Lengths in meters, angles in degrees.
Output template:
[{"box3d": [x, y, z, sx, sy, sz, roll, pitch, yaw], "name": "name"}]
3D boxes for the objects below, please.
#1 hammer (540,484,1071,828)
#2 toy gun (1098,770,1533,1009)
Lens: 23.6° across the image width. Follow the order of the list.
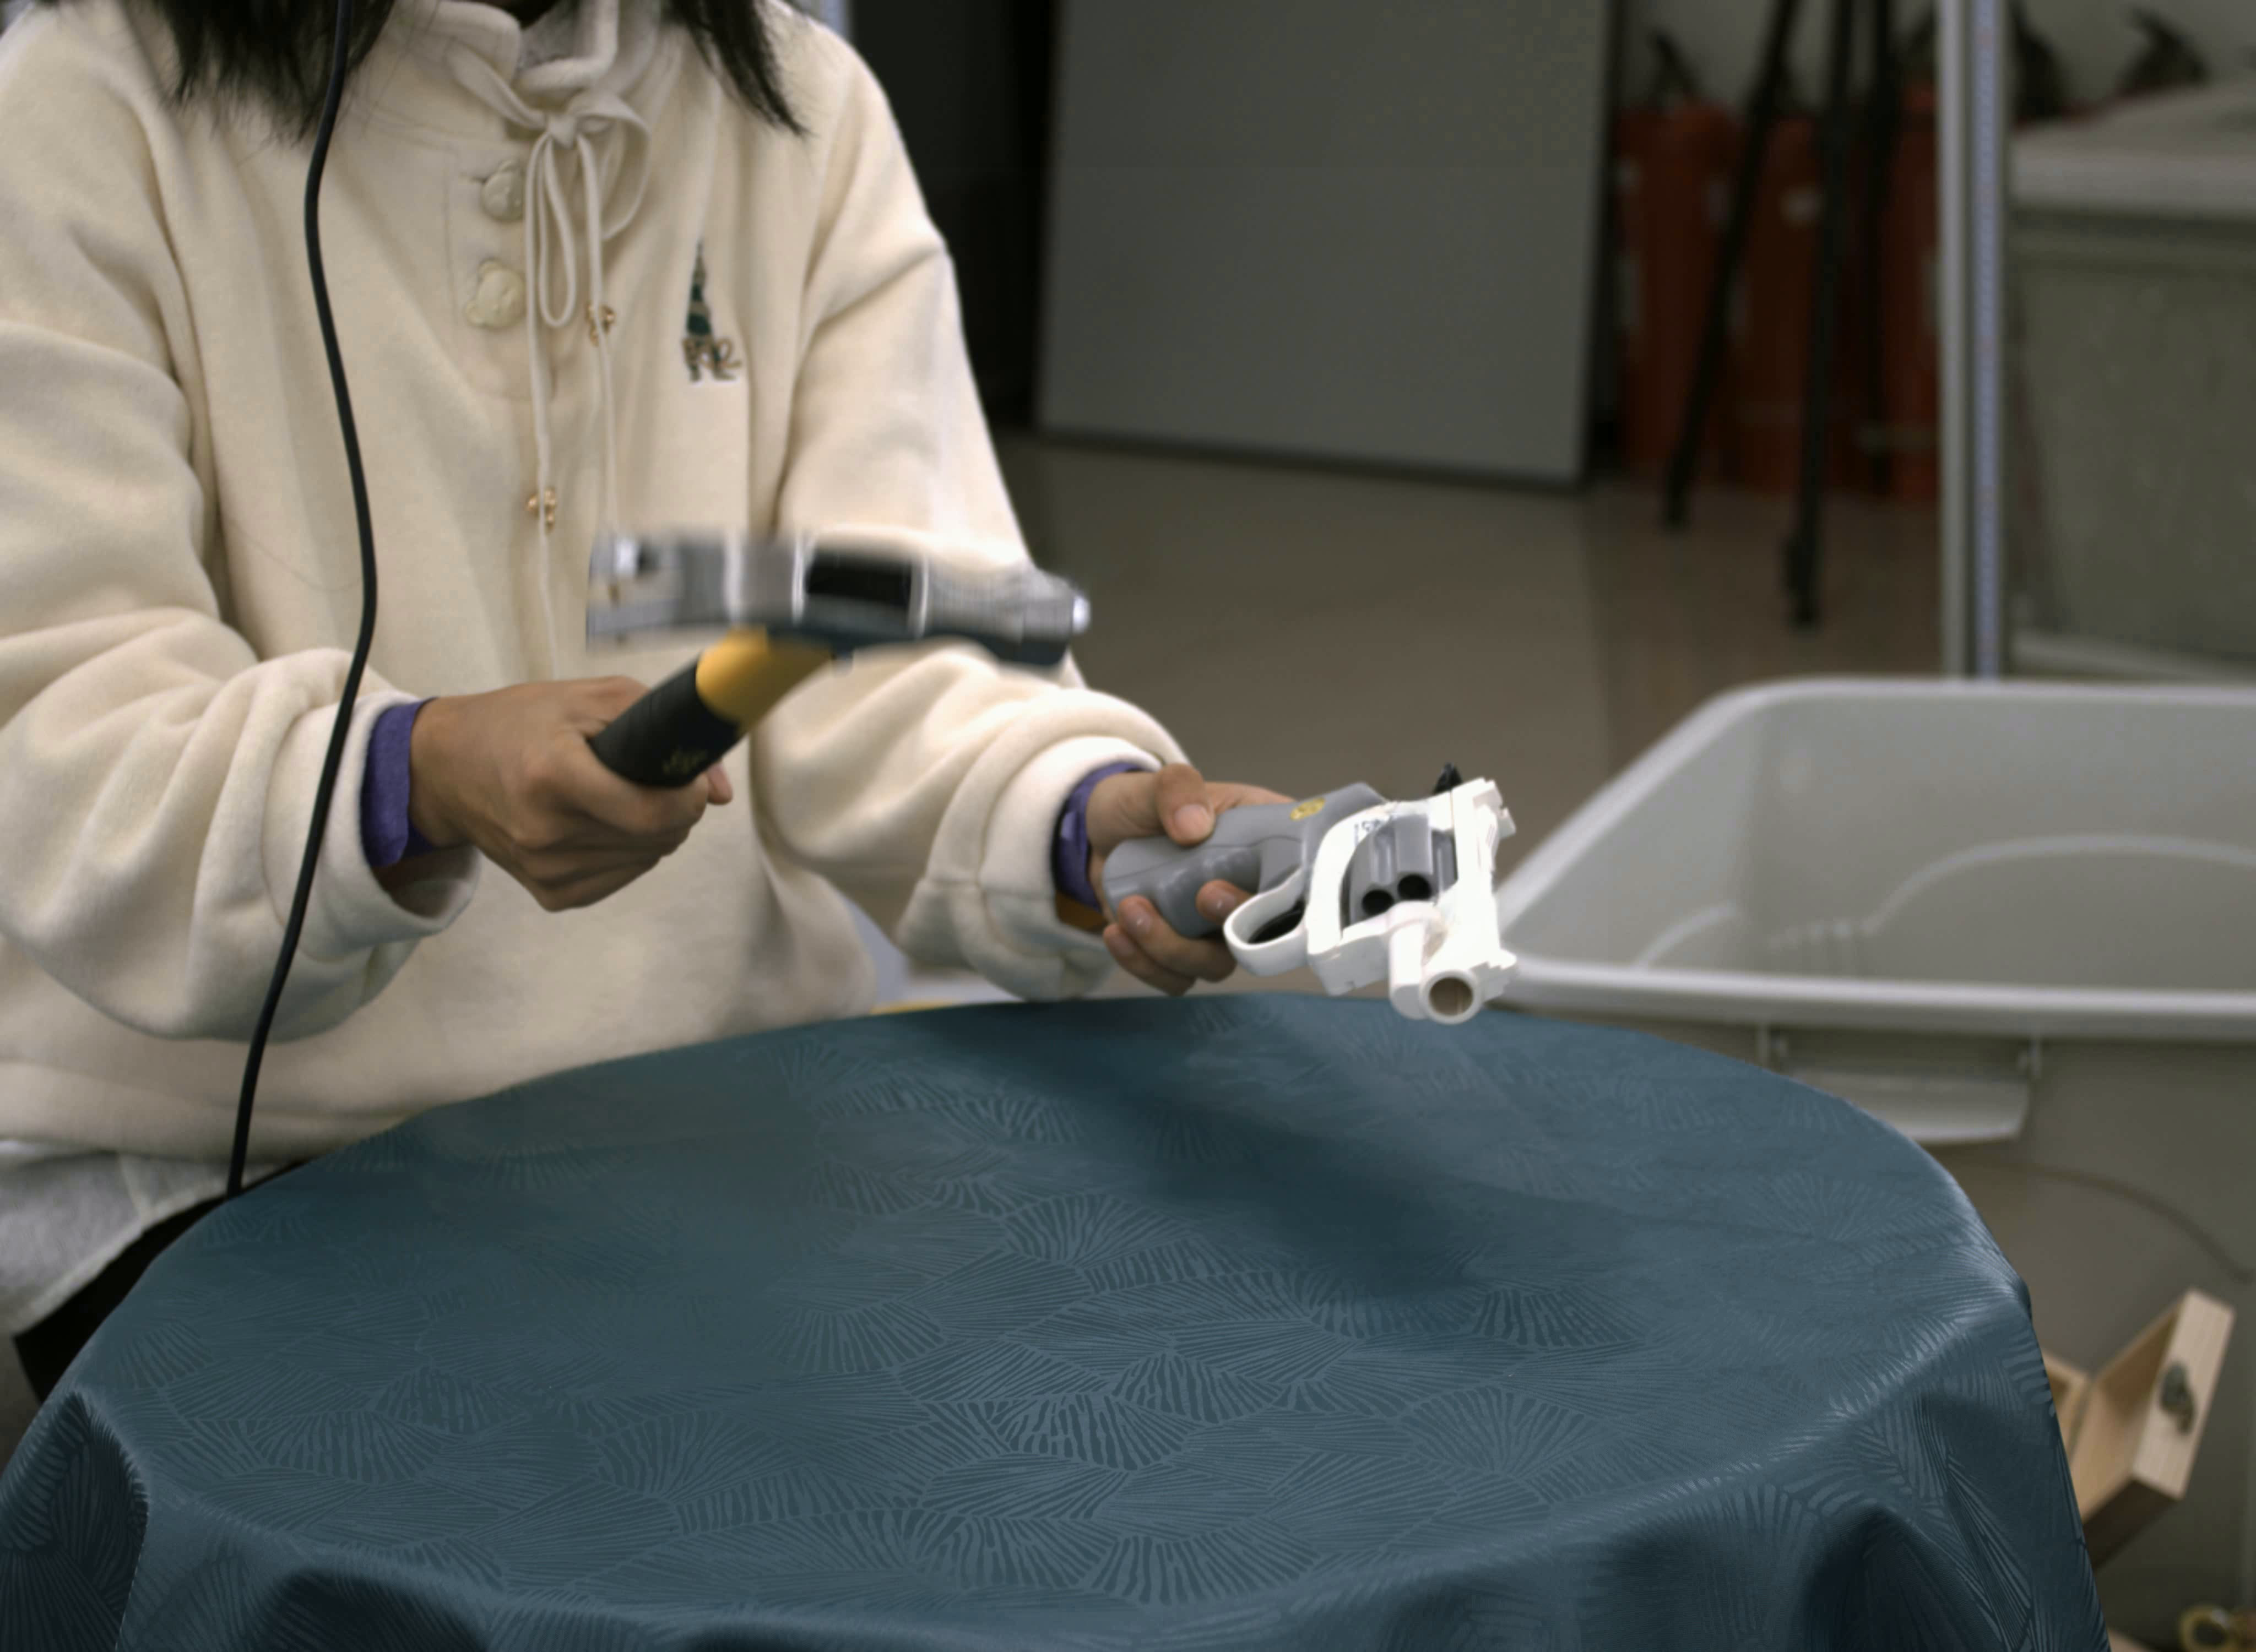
[{"box3d": [-0.128, -0.049, 1.672, 0.129, 0.032, 0.341, 7, -14, -17], "name": "hammer"}, {"box3d": [0.059, 0.027, 1.737, 0.141, 0.039, 0.209, -24, 20, 9], "name": "toy gun"}]
